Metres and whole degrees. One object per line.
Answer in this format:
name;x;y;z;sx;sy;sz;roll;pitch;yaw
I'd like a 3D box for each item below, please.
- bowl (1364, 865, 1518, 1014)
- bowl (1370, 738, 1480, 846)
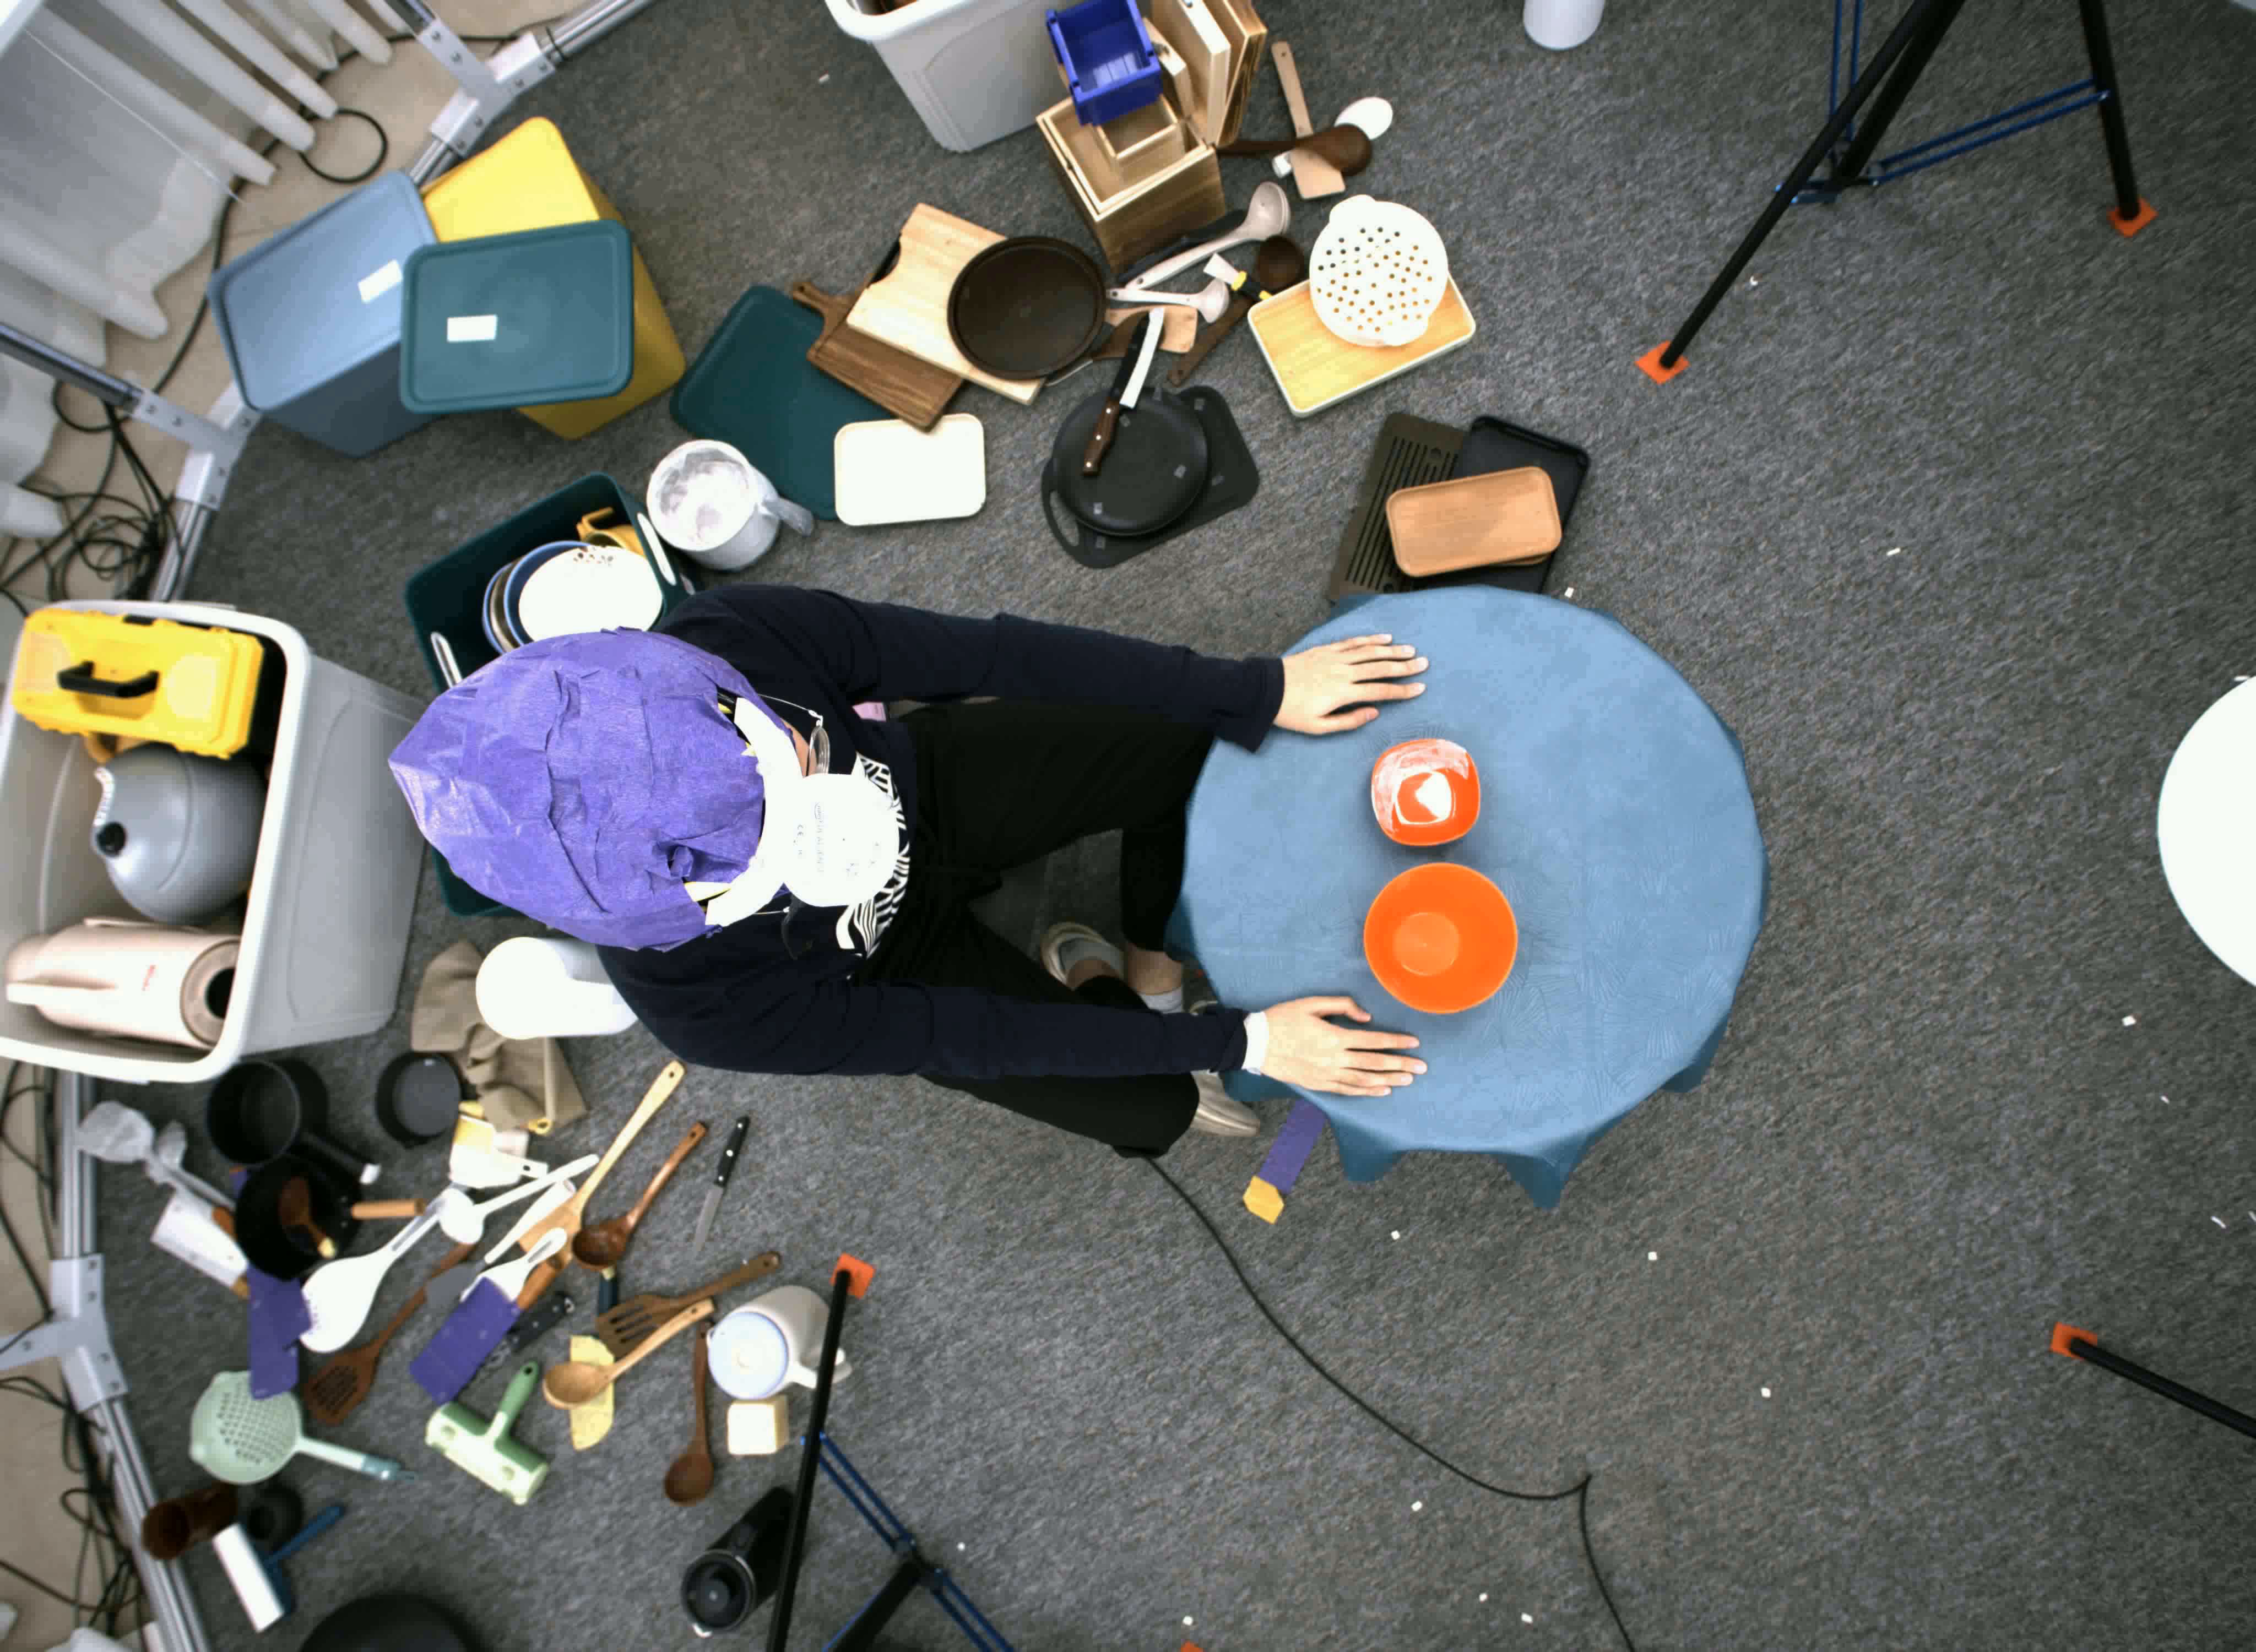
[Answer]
bowl;0.315;0.114;1.398;0.148;0.104;0.147;-1;87;10
bowl;0.308;-0.035;1.433;0.119;0.051;0.118;-1;88;10
